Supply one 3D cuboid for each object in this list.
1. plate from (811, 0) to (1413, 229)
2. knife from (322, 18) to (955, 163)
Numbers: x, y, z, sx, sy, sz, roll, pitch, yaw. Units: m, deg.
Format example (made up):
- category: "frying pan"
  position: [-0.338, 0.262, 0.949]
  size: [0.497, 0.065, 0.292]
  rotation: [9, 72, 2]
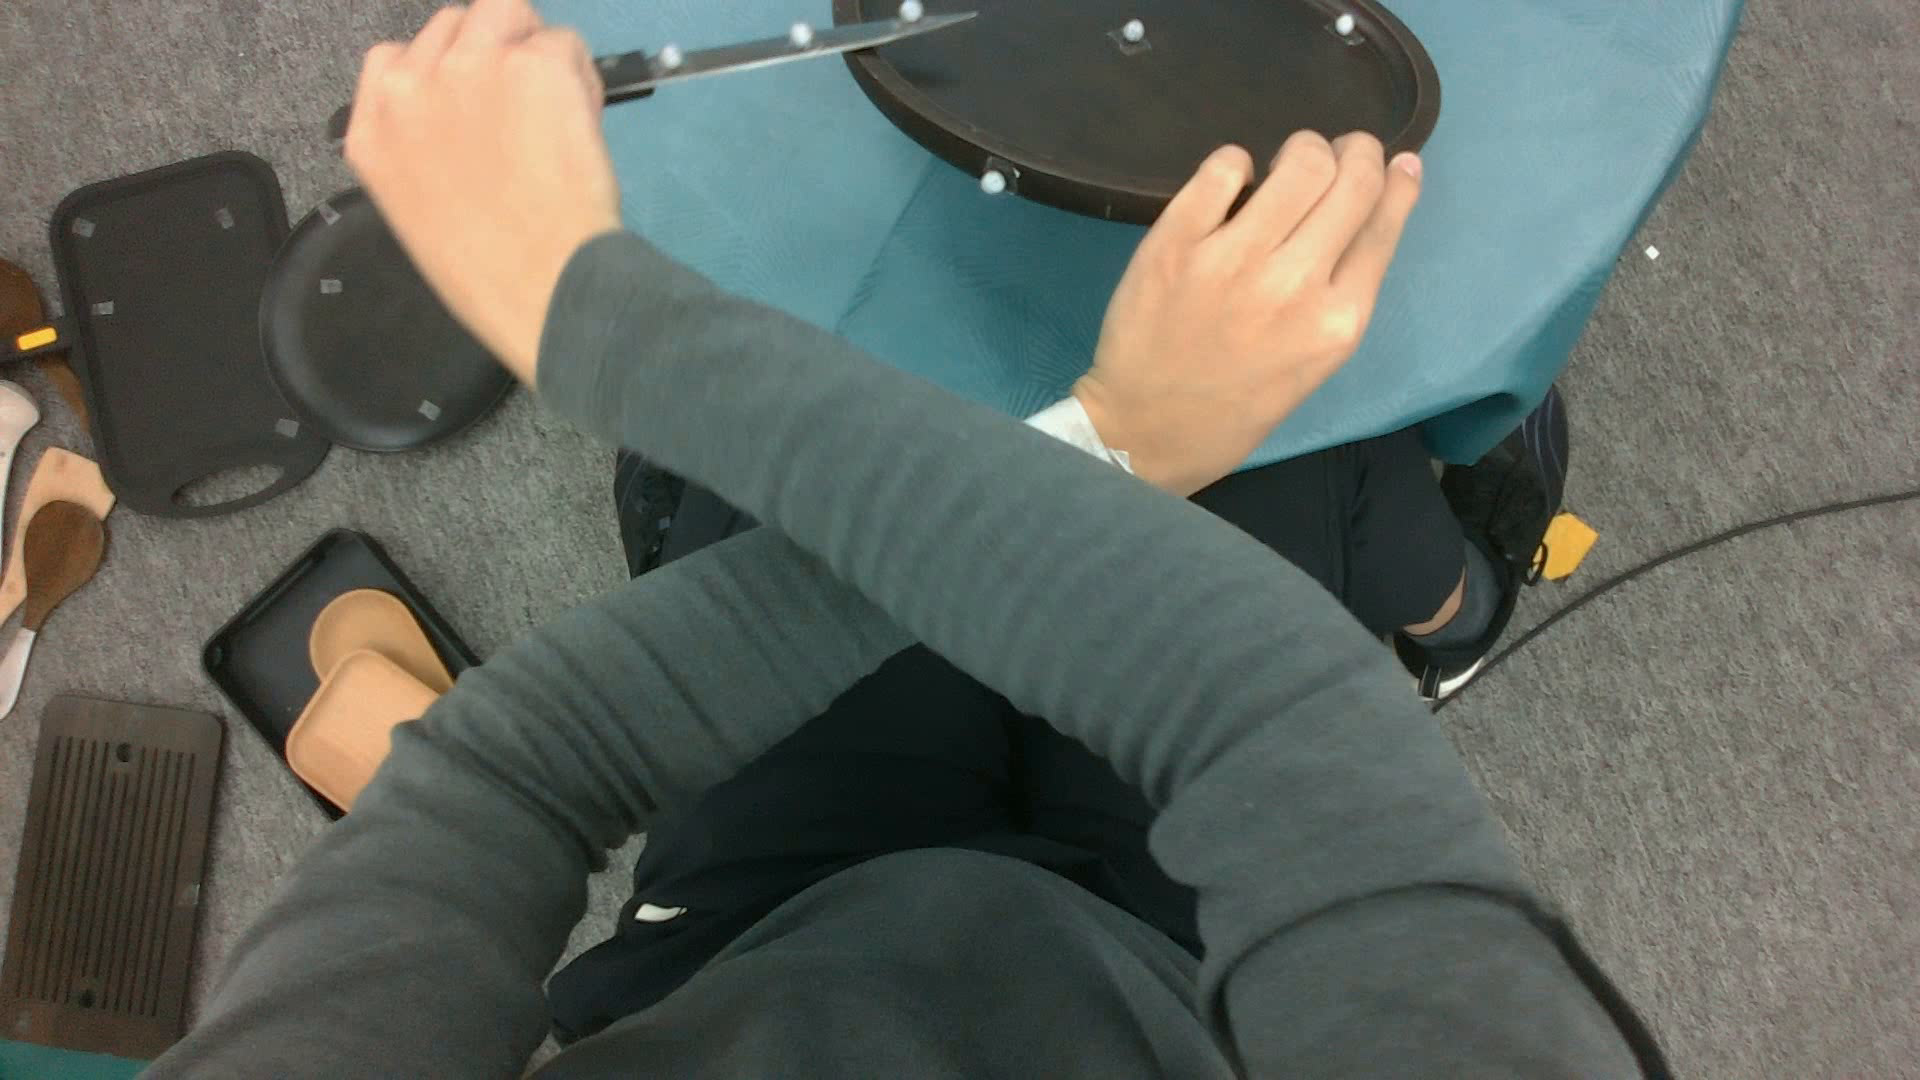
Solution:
- category: "plate"
  position: [0.064, -0.208, 0.580]
  size: [0.255, 0.029, 0.256]
  rotation: [4, 46, -4]
- category: "knife"
  position: [-0.113, -0.171, 0.512]
  size: [0.238, 0.024, 0.016]
  rotation: [-16, 129, -12]
